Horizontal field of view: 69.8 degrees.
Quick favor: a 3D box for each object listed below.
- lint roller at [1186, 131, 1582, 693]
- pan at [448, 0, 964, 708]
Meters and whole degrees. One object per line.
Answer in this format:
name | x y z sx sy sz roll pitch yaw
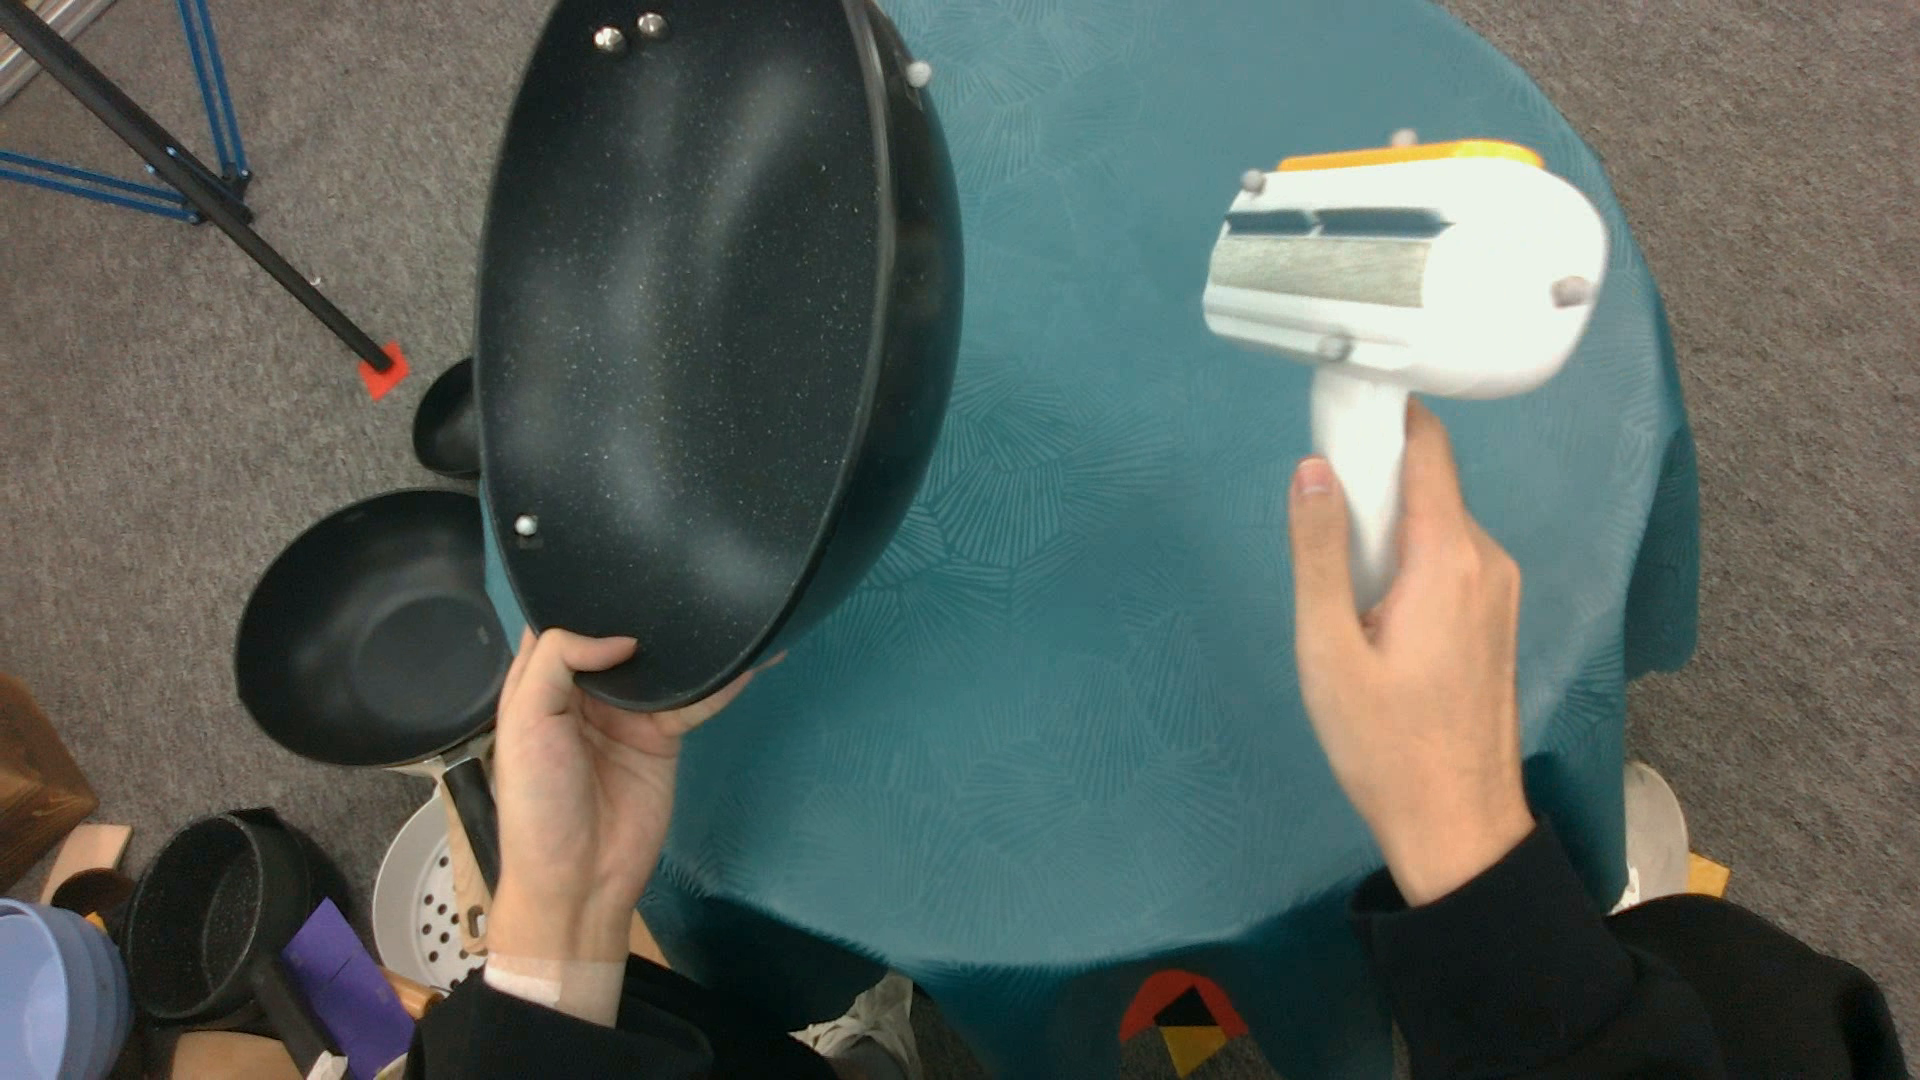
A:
lint roller | 0.129 -0.038 0.471 0.074 0.193 0.192 1 107 -15
pan | -0.127 -0.169 0.563 0.309 0.112 0.478 -31 67 41
